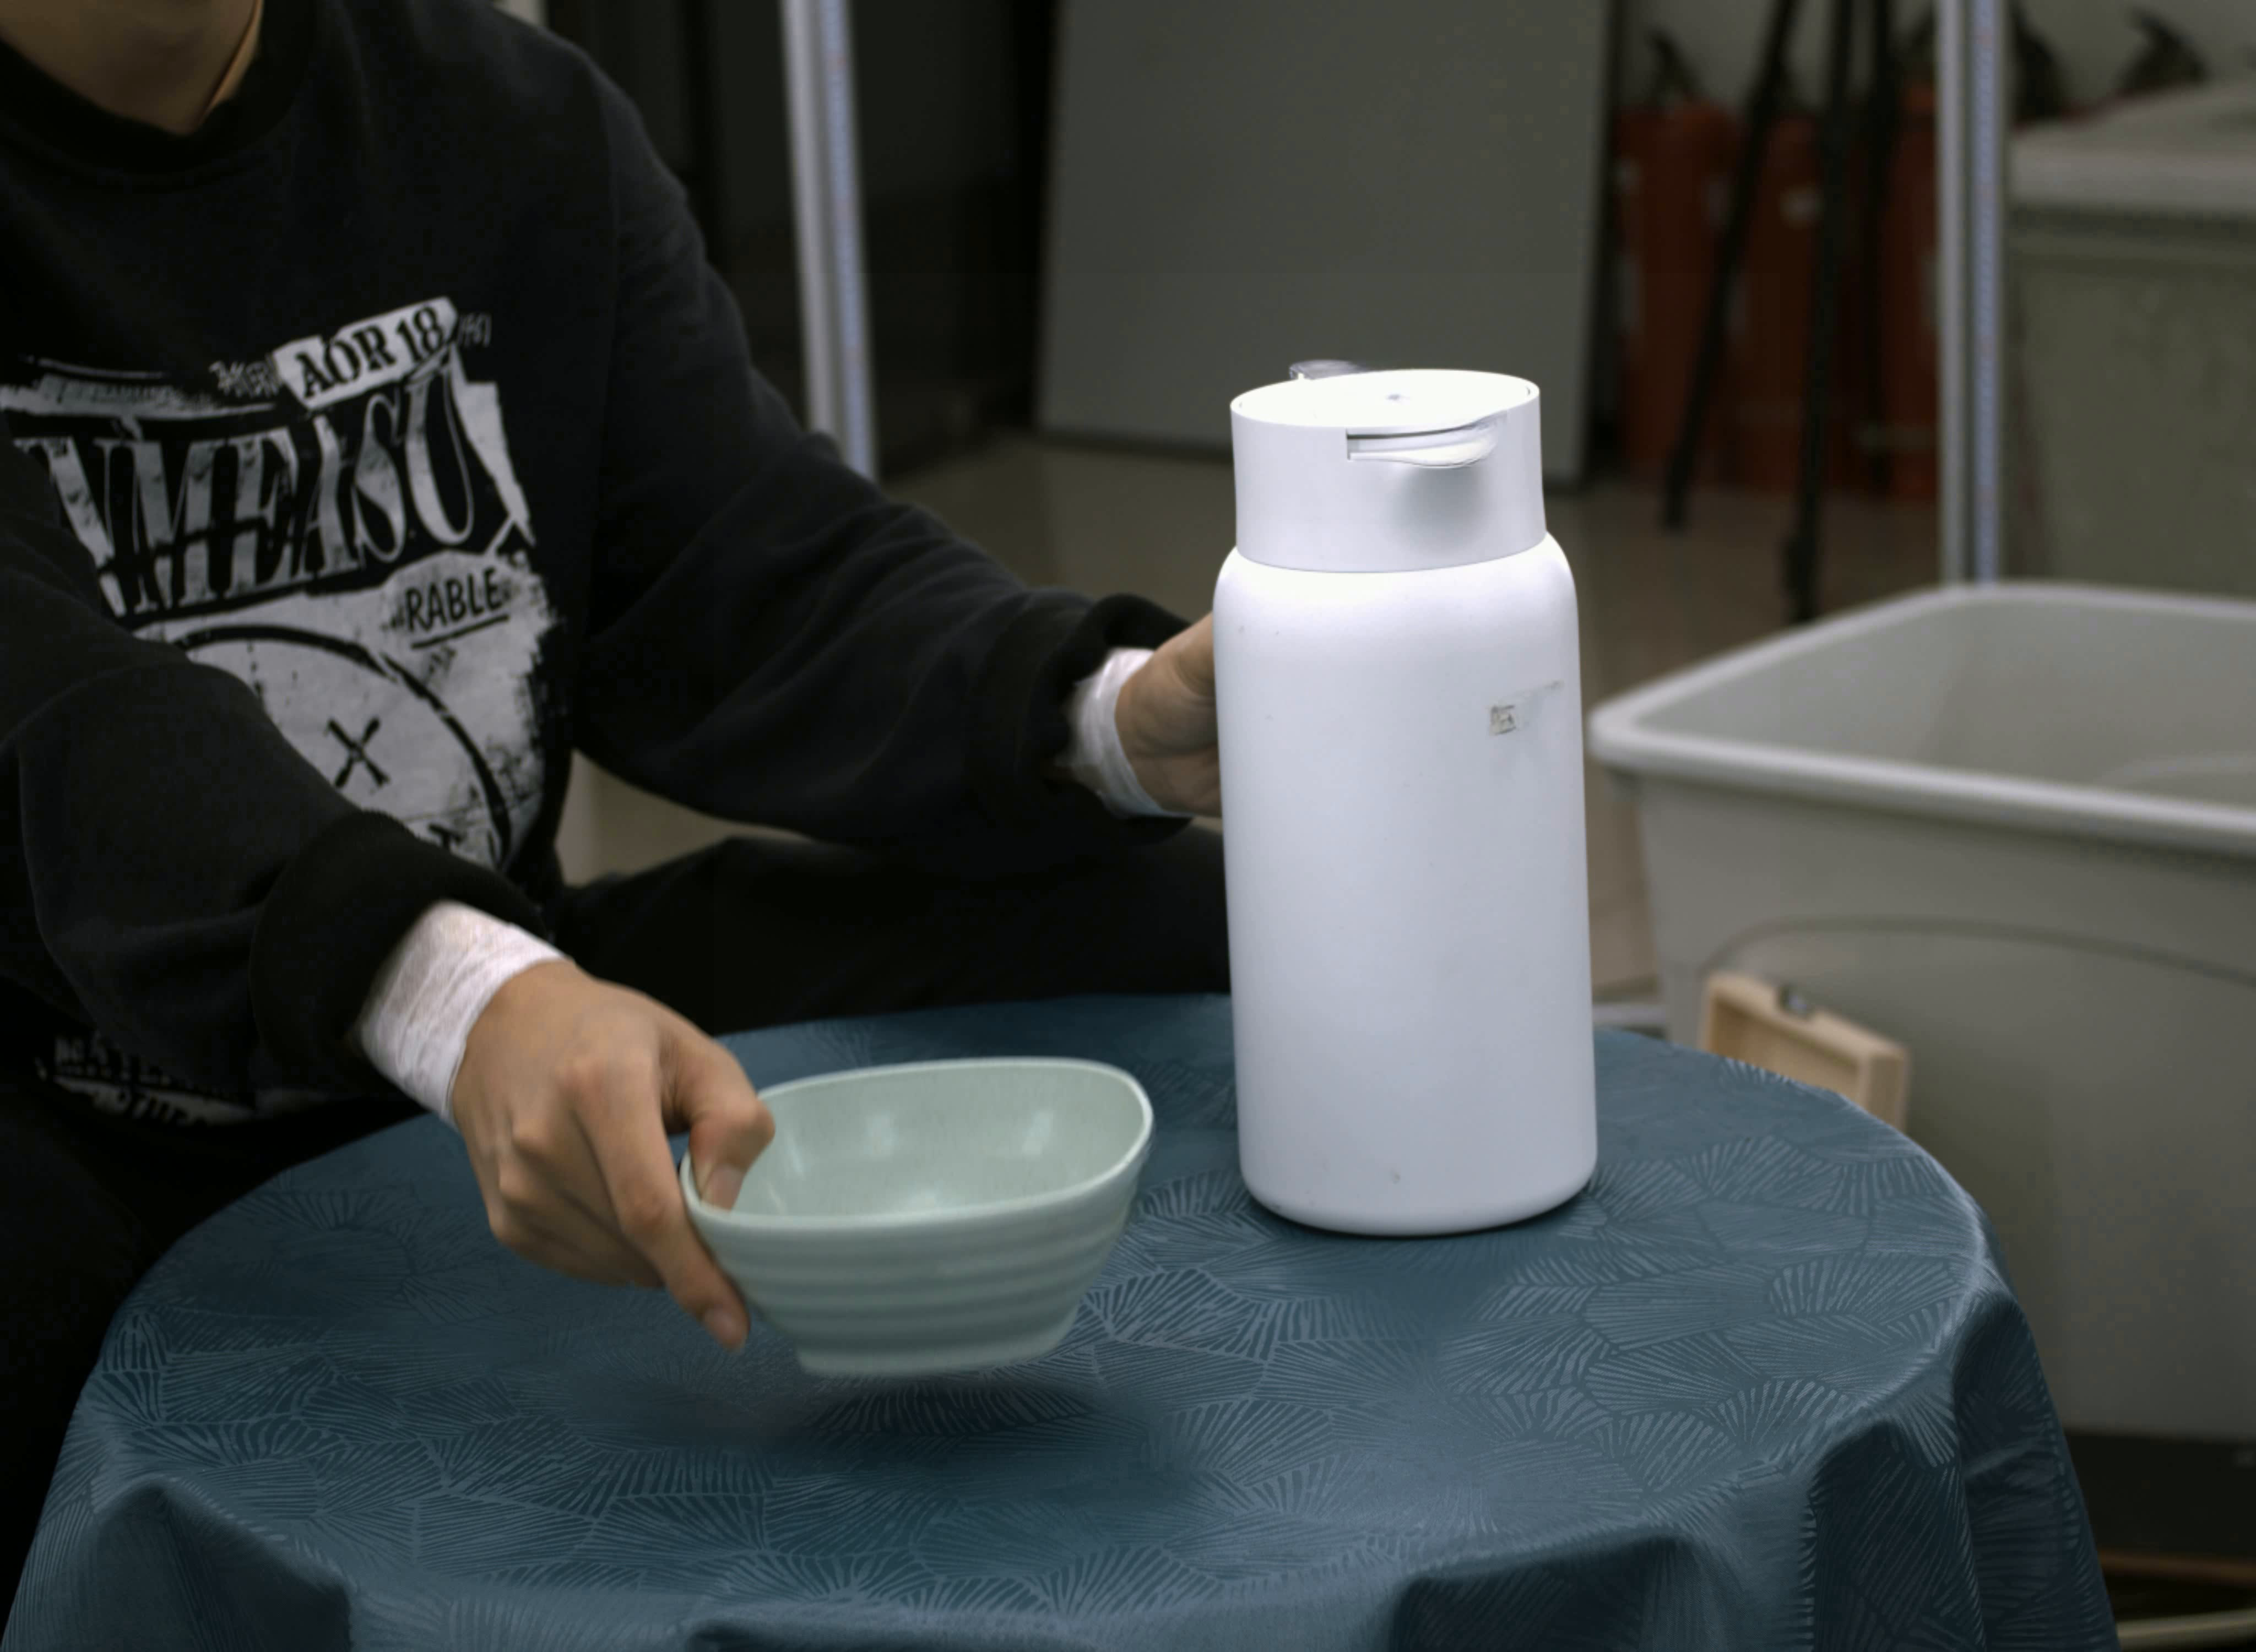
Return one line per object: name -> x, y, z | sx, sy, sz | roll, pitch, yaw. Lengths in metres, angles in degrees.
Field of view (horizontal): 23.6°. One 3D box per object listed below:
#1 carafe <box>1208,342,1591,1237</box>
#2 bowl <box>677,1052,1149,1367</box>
carafe -> 0.080, -0.015, 1.740 | 0.121, 0.272, 0.174 | -10, 15, -15
bowl -> -0.060, 0.115, 1.575 | 0.149, 0.059, 0.152 | -6, 15, 1
